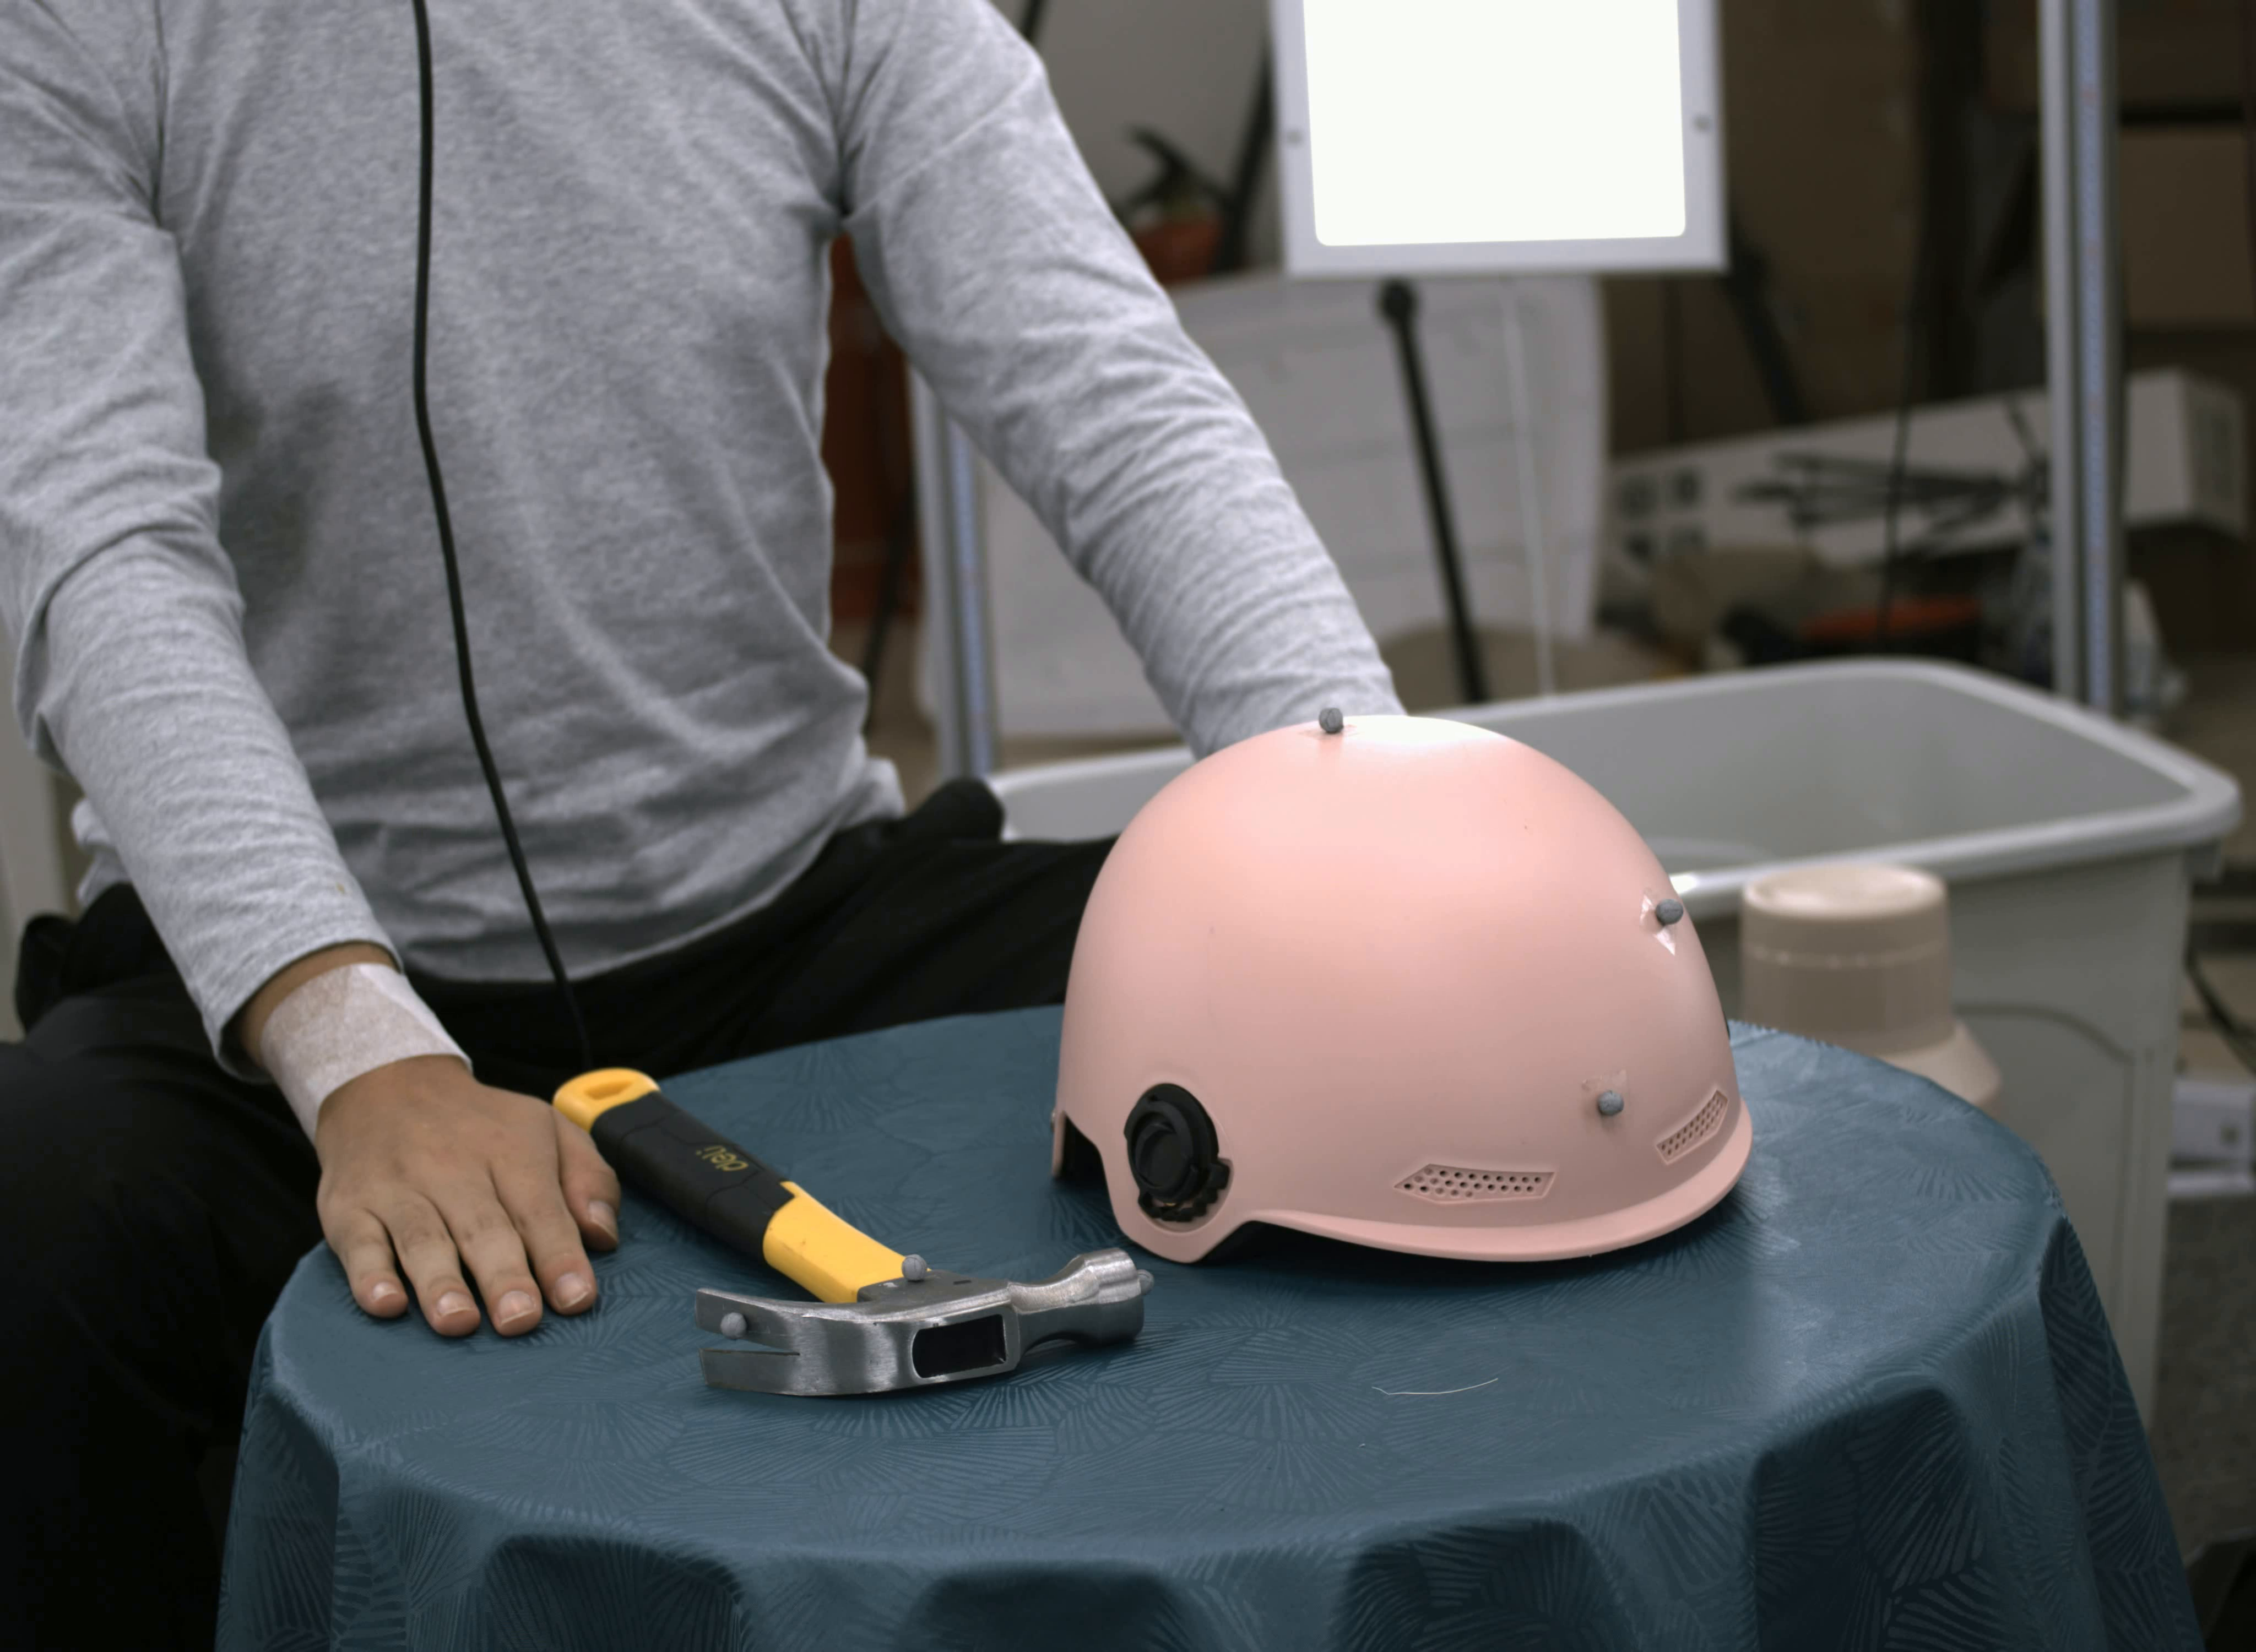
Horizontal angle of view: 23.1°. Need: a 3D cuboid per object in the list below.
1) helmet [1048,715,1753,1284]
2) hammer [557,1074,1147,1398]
[{"bbox_3d":[0.091,0.048,1.867,0.229,0.159,0.270,-12,19,-28],"label":"helmet"},{"bbox_3d":[-0.122,0.131,1.863,0.129,0.032,0.343,-12,15,-22],"label":"hammer"}]
